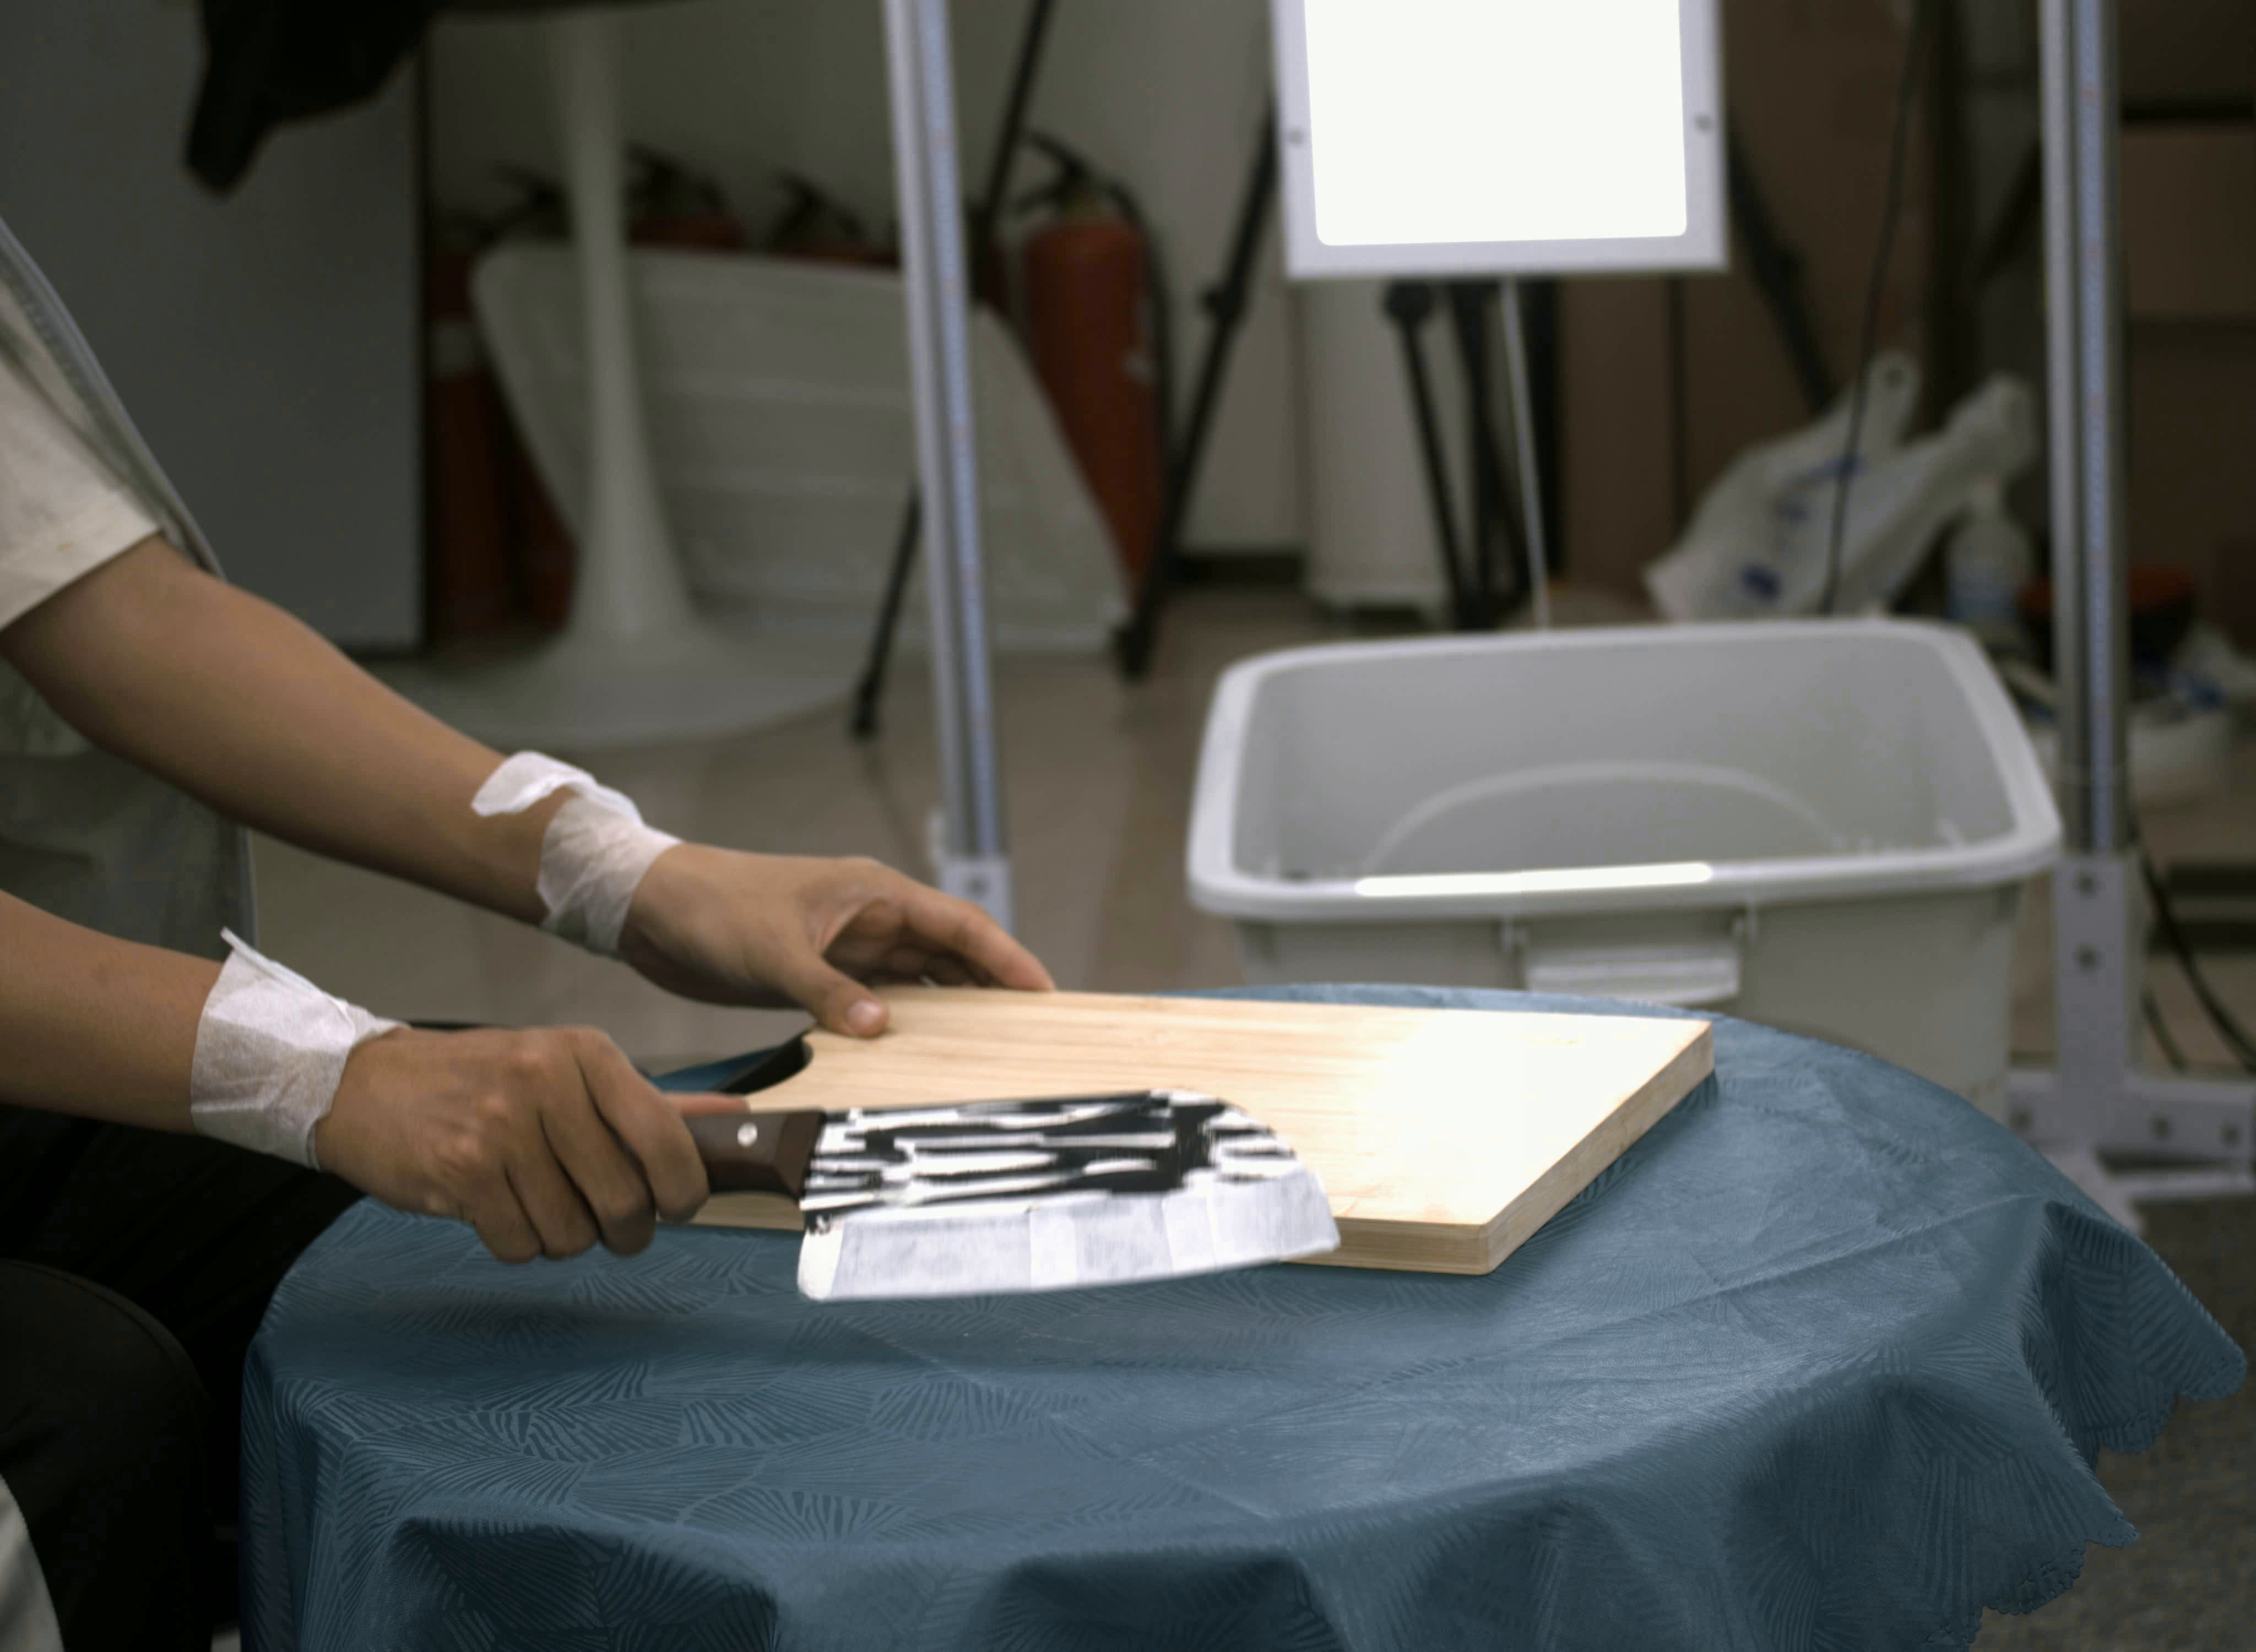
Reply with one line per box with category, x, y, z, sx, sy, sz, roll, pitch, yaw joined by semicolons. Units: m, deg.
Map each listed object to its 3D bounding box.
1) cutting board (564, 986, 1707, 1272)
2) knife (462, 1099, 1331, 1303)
cutting board;0.006;0.104;1.955;0.354;0.023;0.246;1;15;25
knife;-0.078;0.121;1.761;0.303;0.068;0.024;-3;-30;19
